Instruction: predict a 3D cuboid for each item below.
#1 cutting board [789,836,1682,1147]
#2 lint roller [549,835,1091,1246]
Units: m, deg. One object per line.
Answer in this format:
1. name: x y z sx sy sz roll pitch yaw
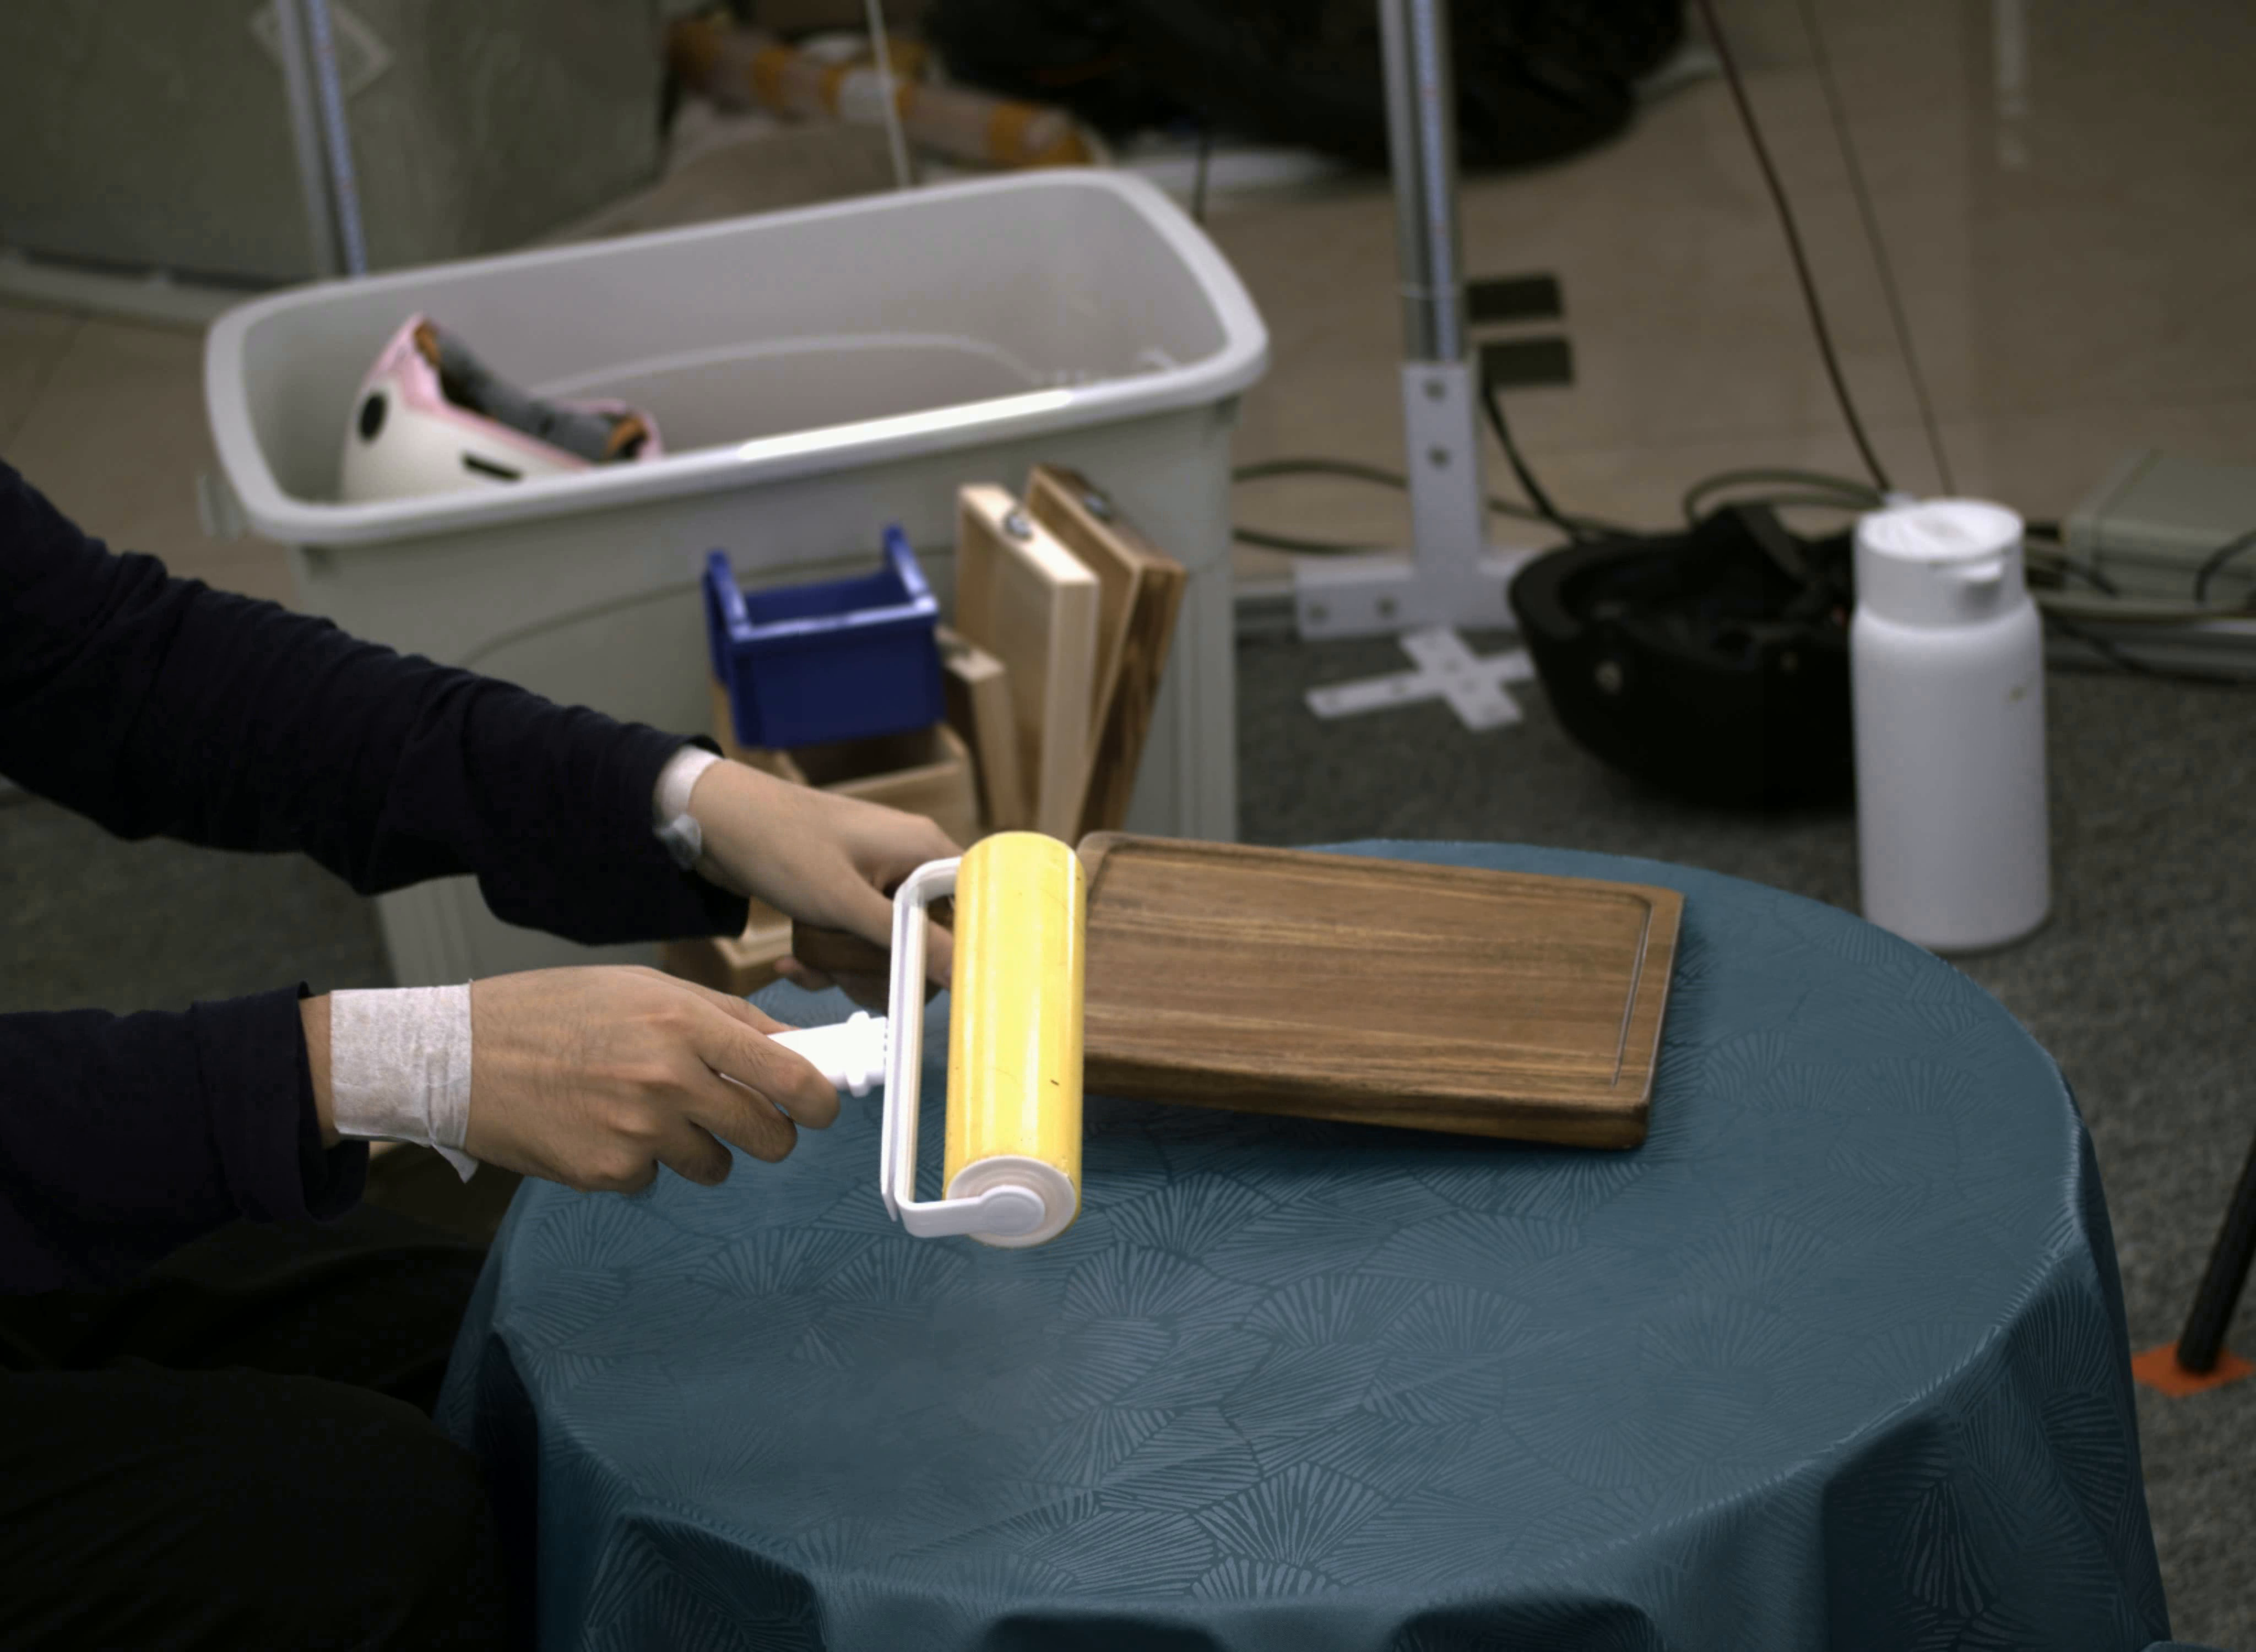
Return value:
1. cutting board: 0.039 0.058 2.239 0.351 0.023 0.198 5 26 8
2. lint roller: -0.109 0.079 1.979 0.192 0.052 0.171 -3 43 1
